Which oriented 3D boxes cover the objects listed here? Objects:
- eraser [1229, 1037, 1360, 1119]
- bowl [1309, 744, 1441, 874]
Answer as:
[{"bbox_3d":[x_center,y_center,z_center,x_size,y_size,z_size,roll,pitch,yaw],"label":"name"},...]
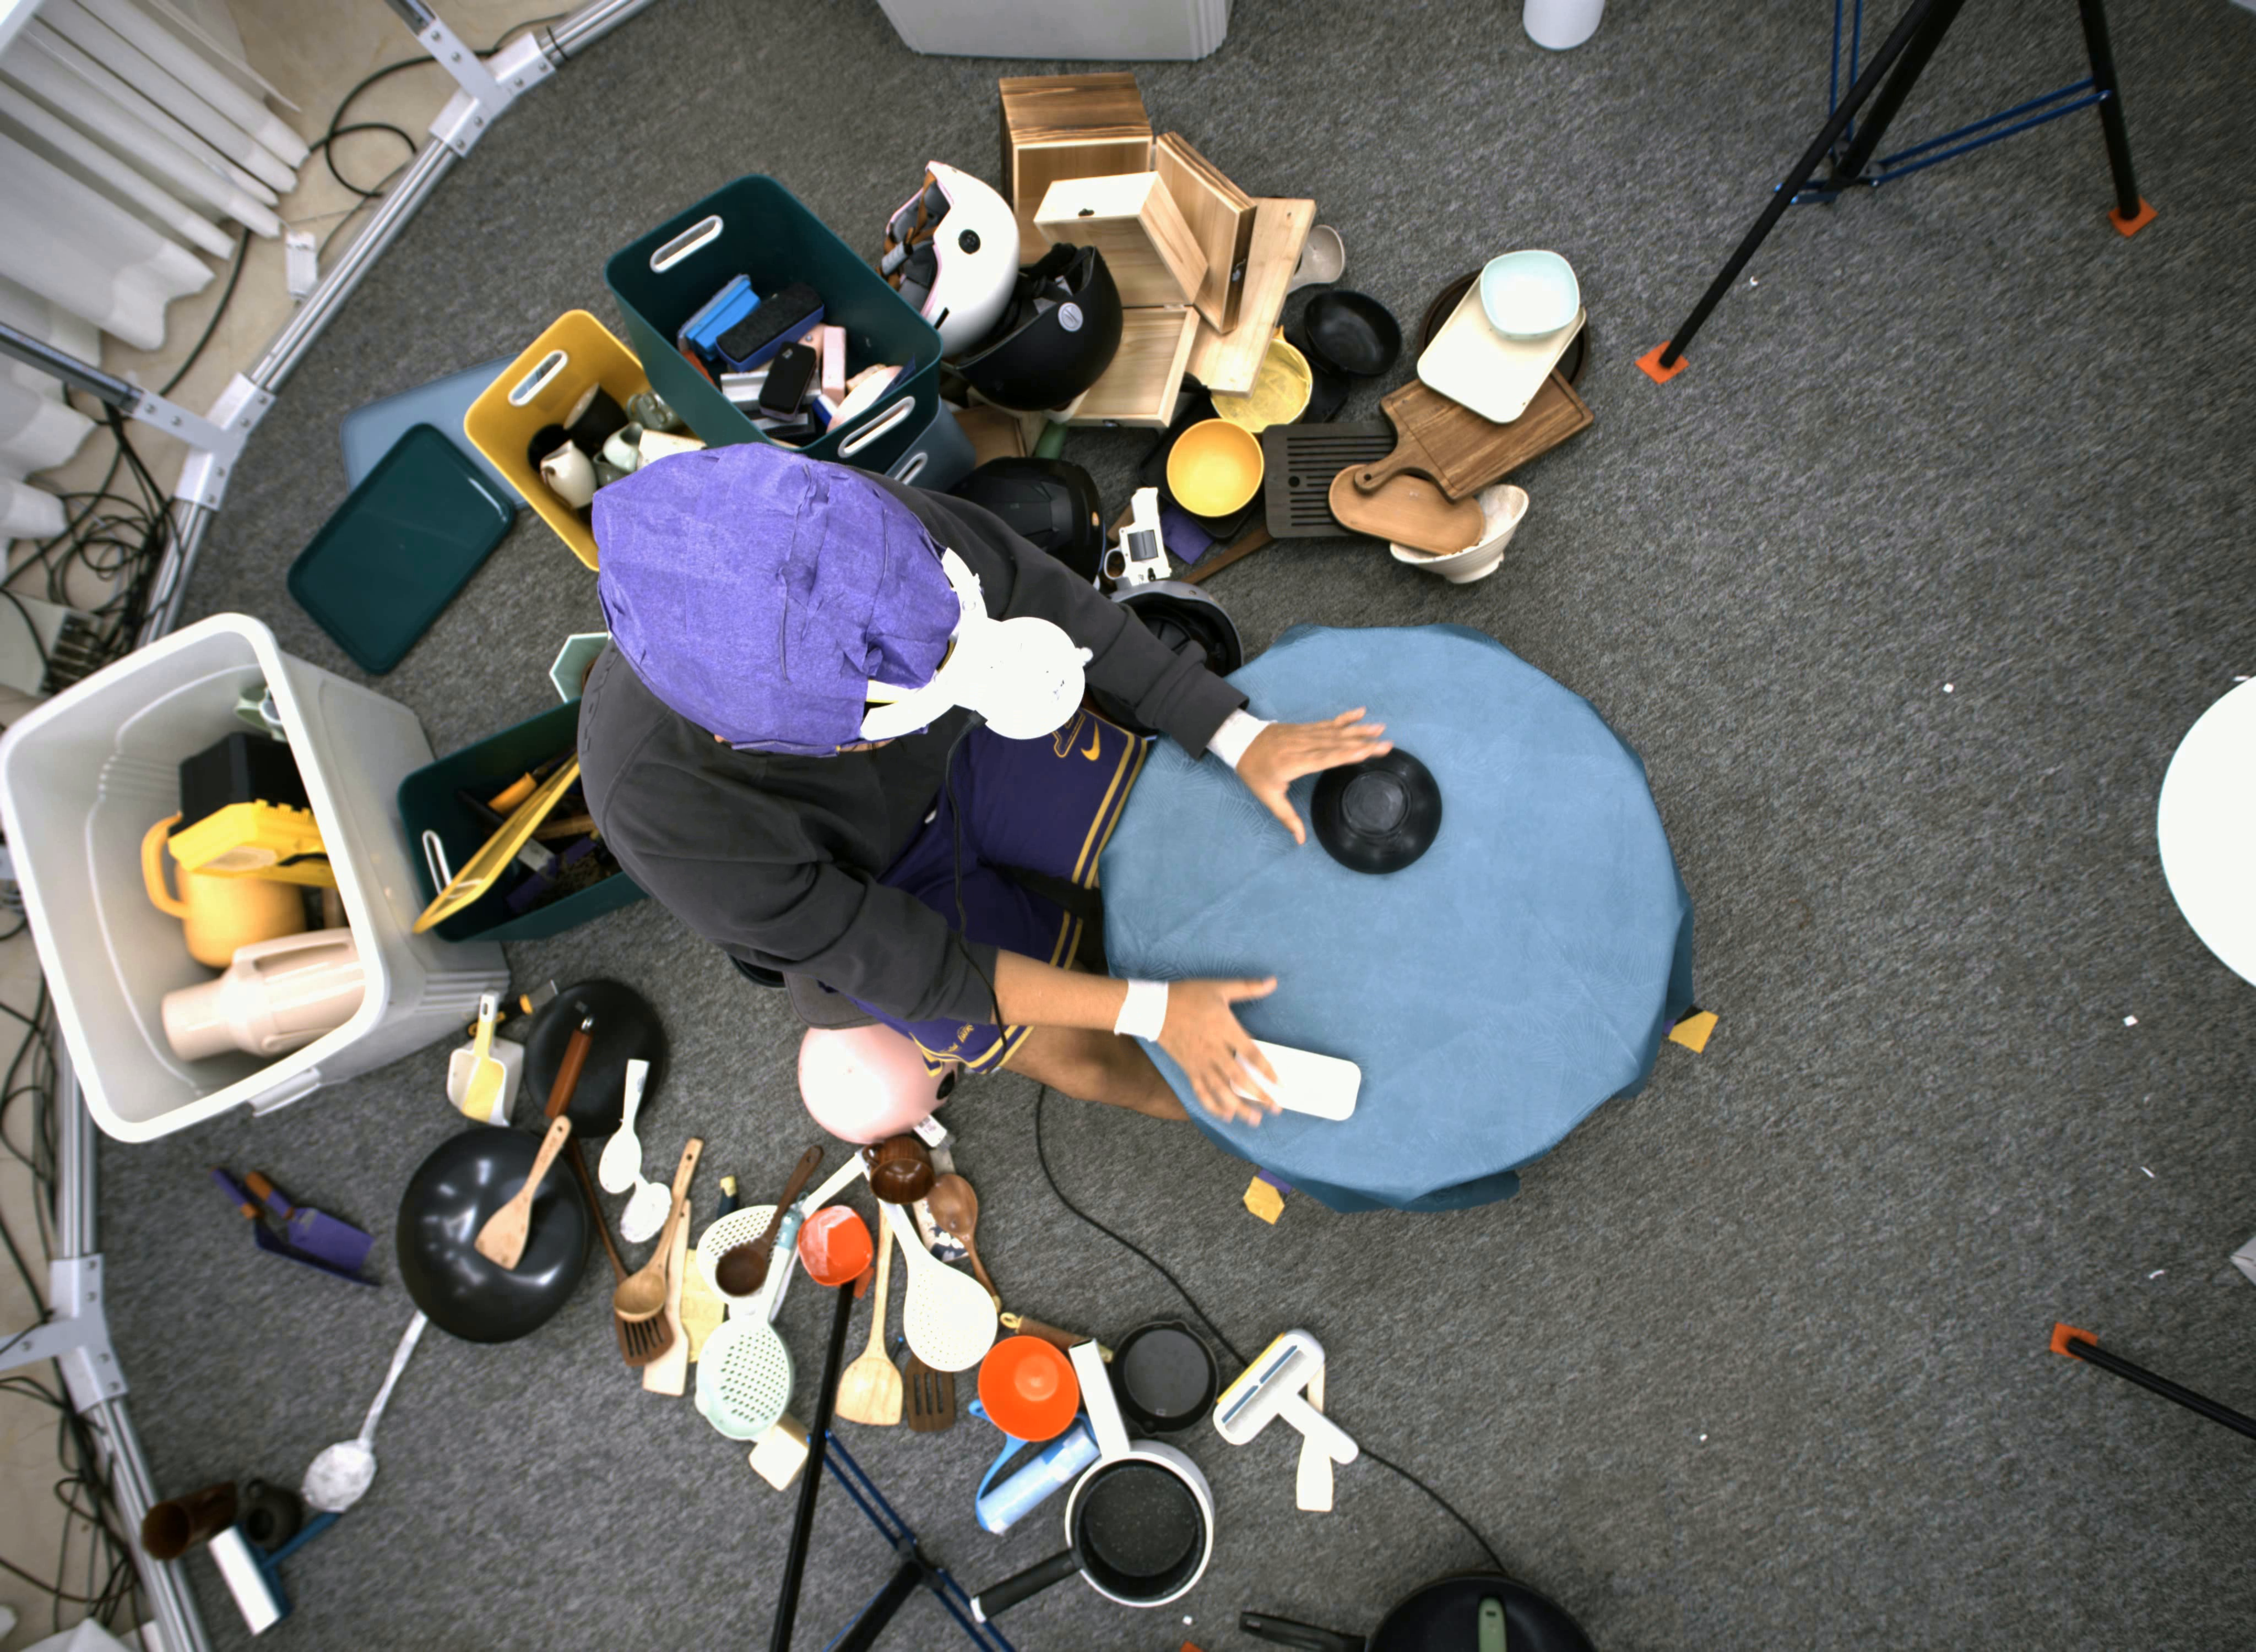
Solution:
[{"bbox_3d":[0.174,0.260,1.450,0.131,0.034,0.063,13,88,10],"label":"eraser"},{"bbox_3d":[0.258,-0.022,1.440,0.140,0.050,0.139,-1,88,9],"label":"bowl"}]
